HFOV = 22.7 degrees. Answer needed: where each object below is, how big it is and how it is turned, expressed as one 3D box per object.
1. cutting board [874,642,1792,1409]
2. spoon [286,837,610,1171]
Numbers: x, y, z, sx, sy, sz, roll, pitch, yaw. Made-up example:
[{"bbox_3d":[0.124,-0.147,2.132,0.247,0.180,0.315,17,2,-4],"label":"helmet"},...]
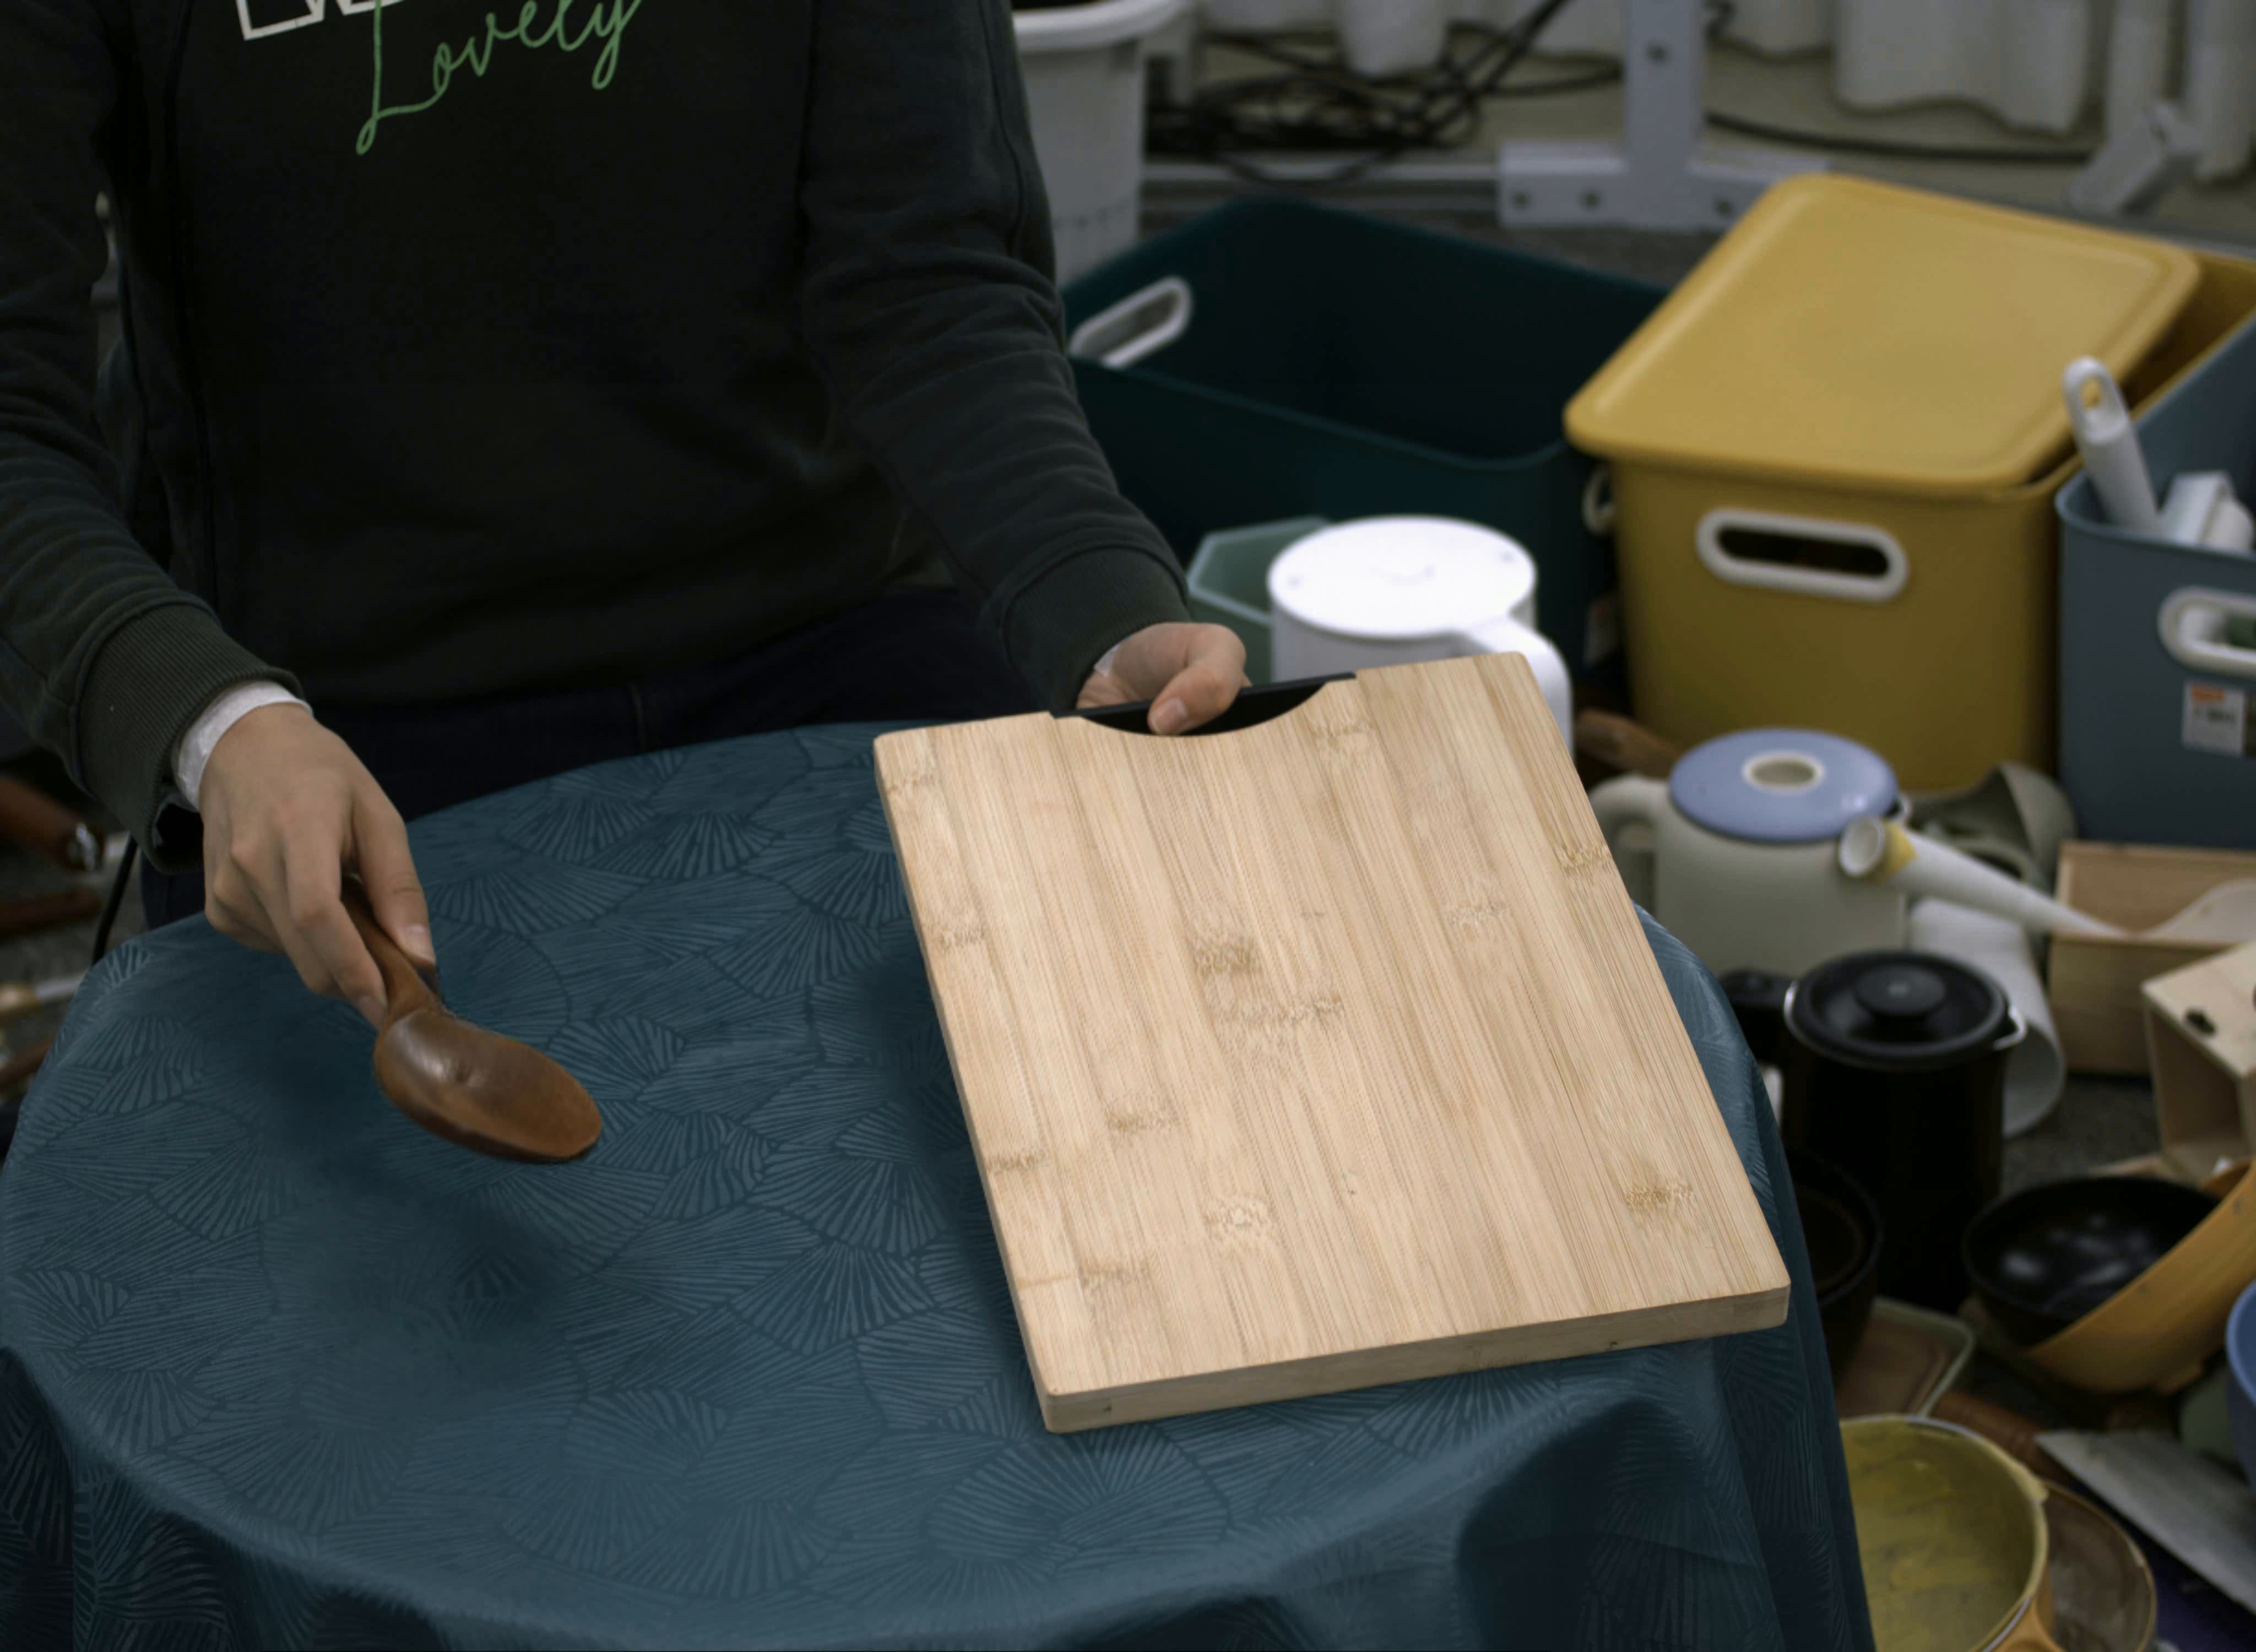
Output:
[{"bbox_3d":[0.059,0.060,1.887,0.250,0.023,0.354,-7,38,-10],"label":"cutting board"},{"bbox_3d":[-0.234,0.061,1.854,0.075,0.017,0.217,5,25,-32],"label":"spoon"}]
